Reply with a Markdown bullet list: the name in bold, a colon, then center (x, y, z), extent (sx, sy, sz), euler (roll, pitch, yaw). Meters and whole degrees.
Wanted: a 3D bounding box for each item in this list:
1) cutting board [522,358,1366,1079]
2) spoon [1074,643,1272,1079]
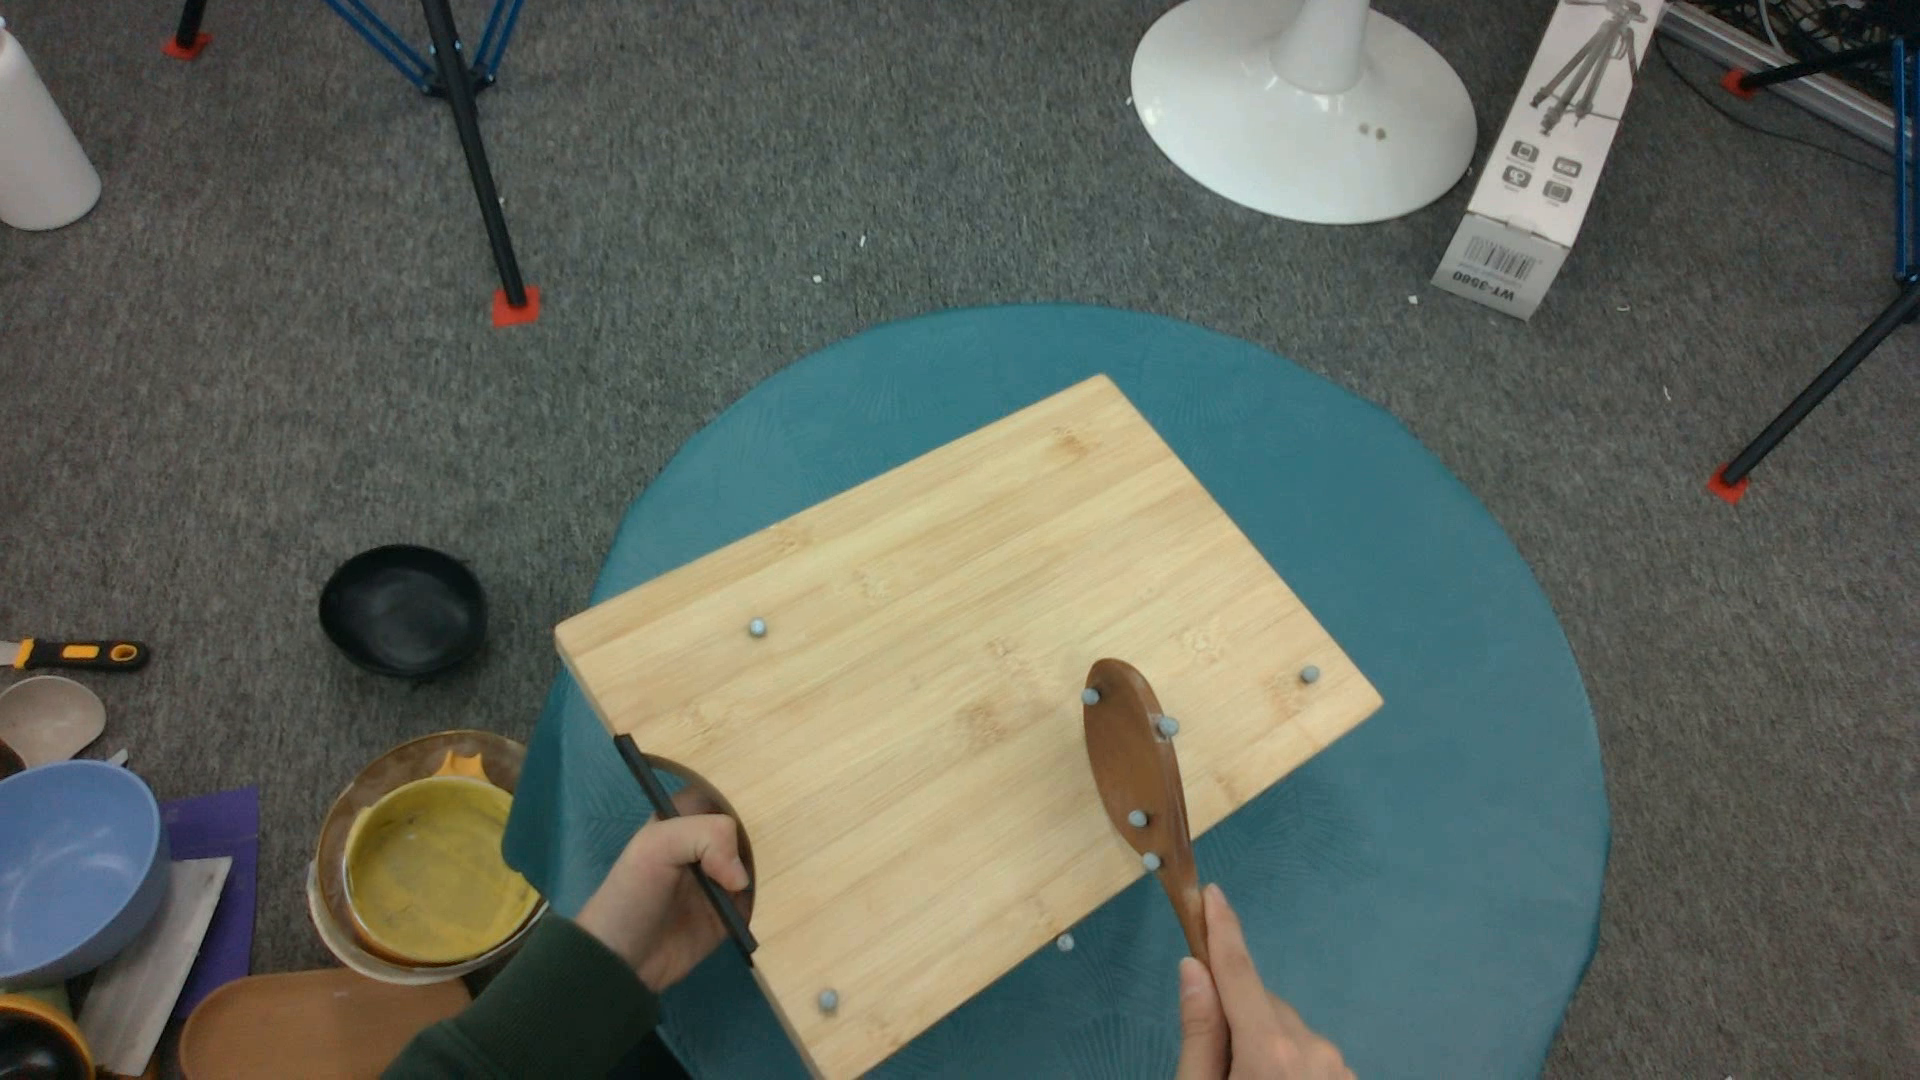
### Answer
- **cutting board**: center (0.006, 0.062, 0.670), extent (0.350, 0.023, 0.251), euler (-28, 70, -28)
- **spoon**: center (0.092, 0.141, 0.588), extent (0.017, 0.075, 0.216), euler (-2, 56, -23)
